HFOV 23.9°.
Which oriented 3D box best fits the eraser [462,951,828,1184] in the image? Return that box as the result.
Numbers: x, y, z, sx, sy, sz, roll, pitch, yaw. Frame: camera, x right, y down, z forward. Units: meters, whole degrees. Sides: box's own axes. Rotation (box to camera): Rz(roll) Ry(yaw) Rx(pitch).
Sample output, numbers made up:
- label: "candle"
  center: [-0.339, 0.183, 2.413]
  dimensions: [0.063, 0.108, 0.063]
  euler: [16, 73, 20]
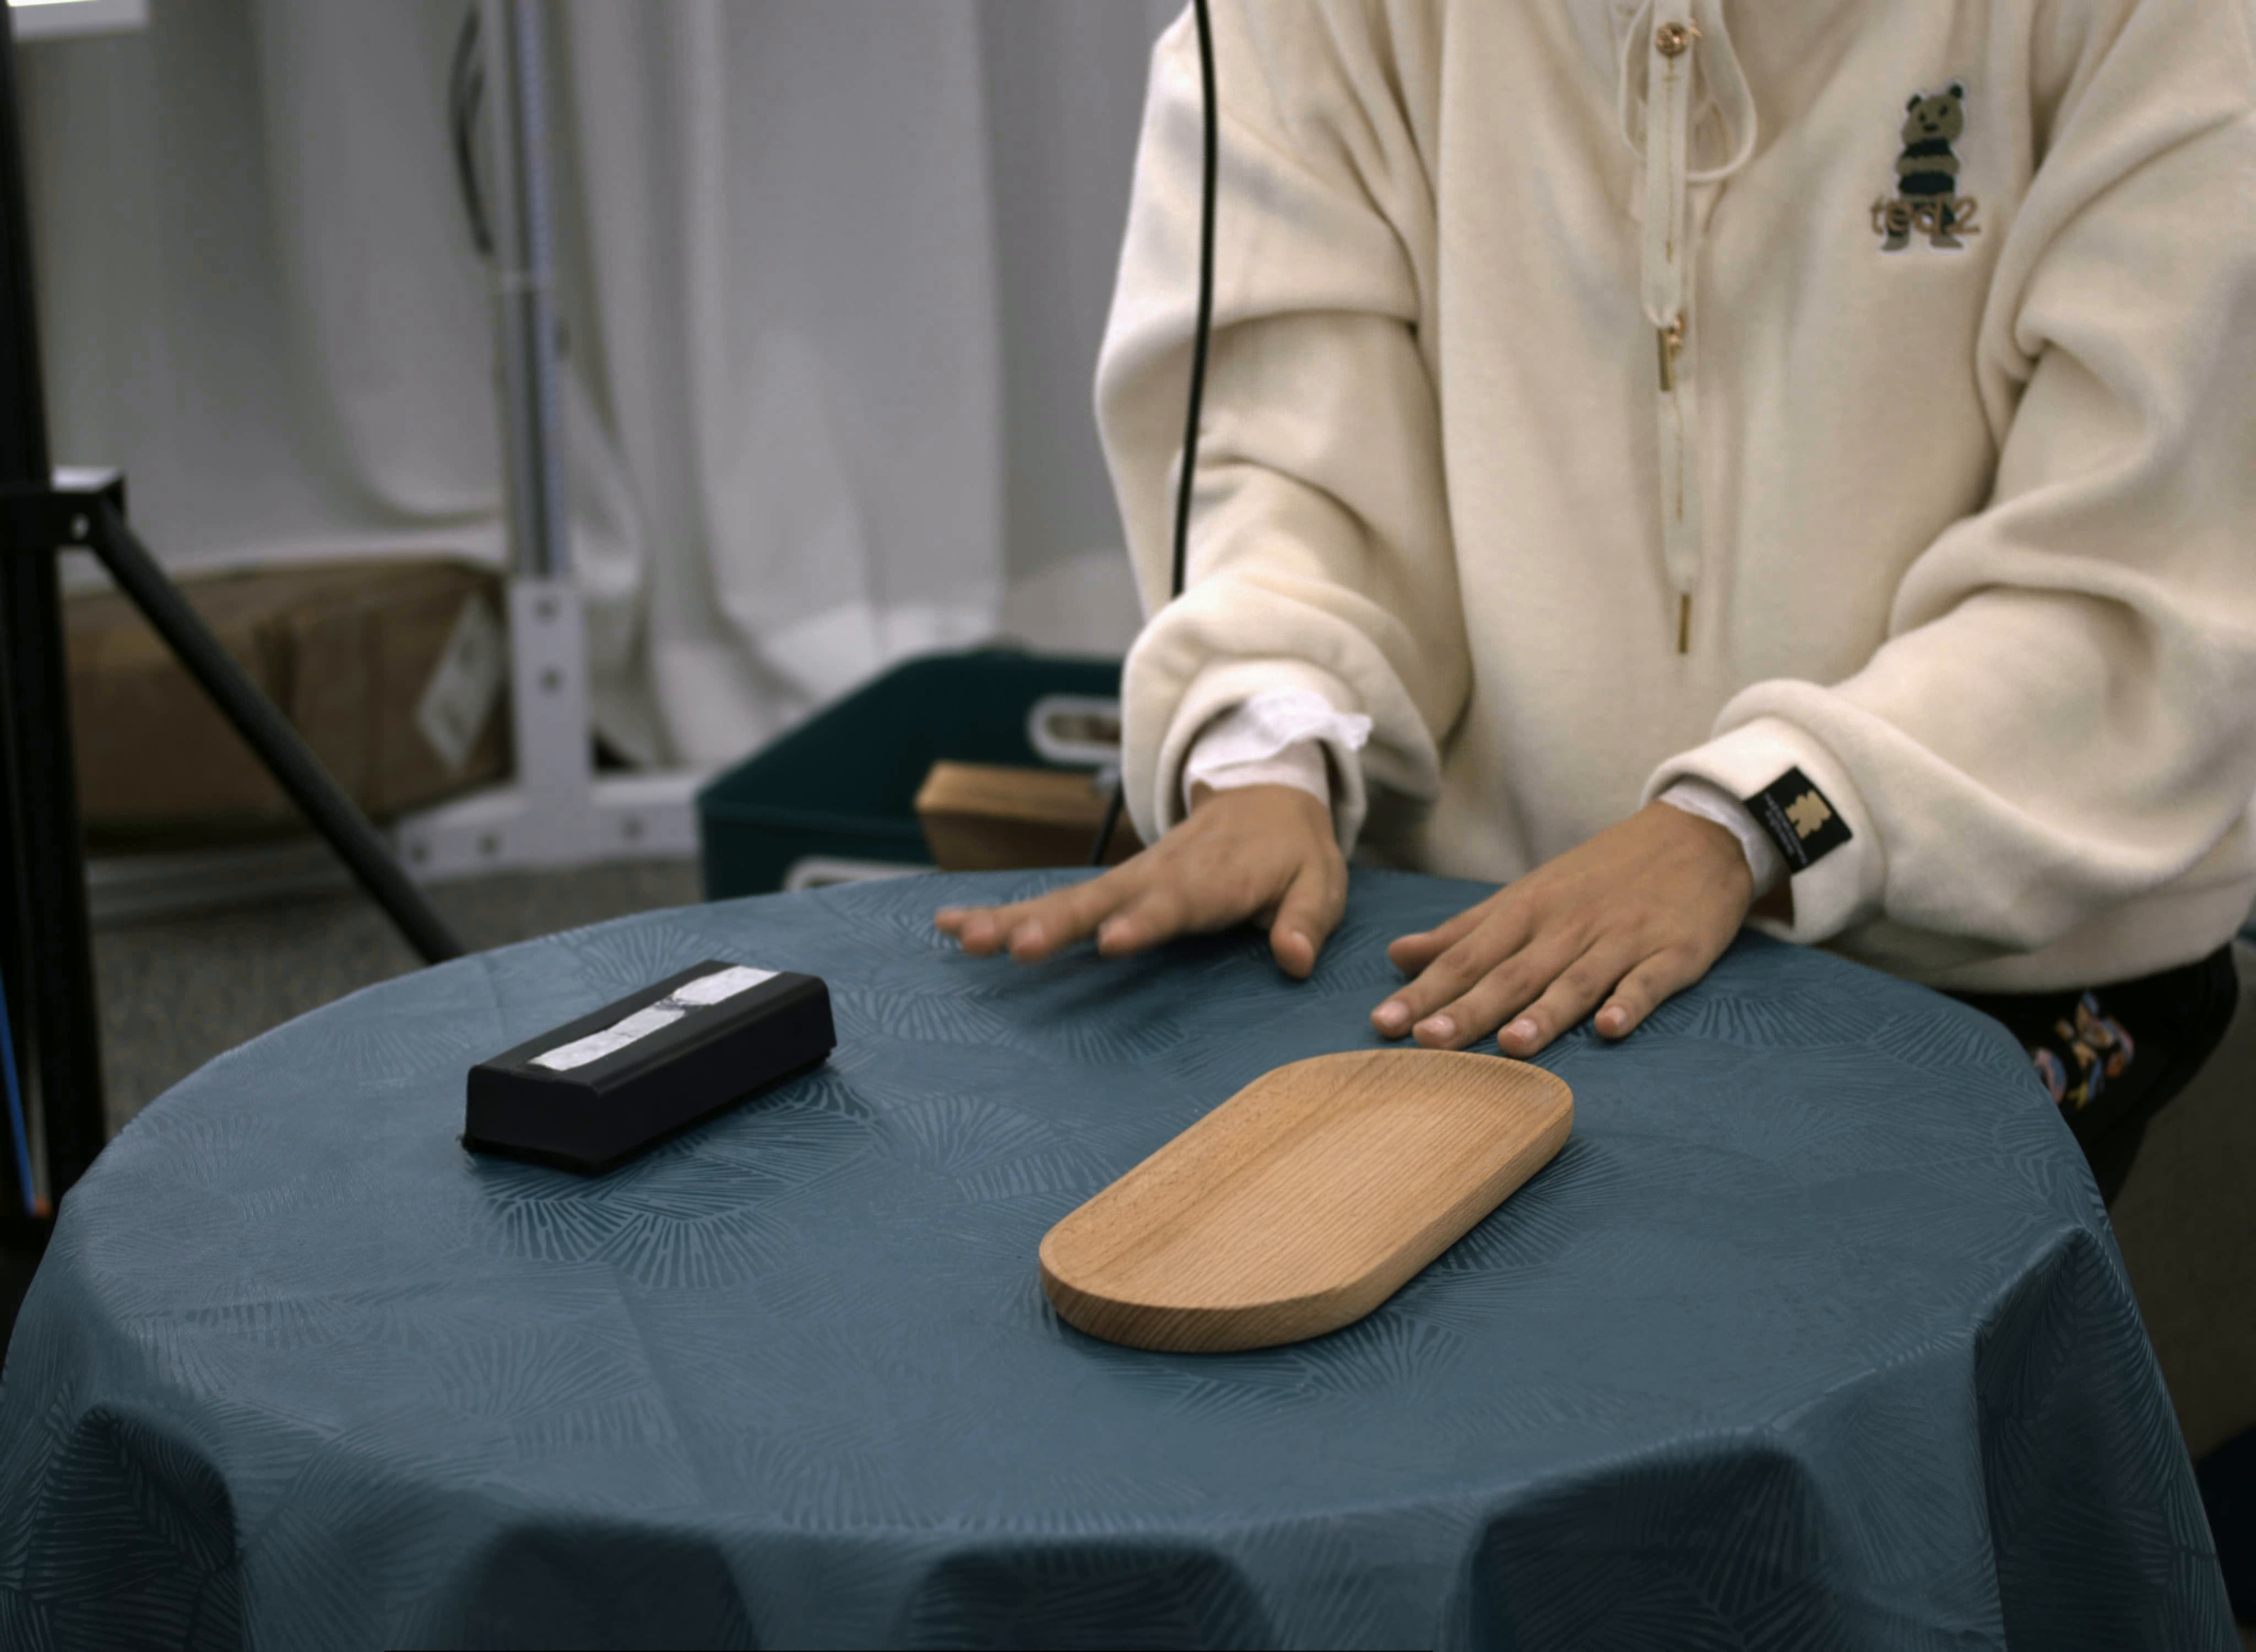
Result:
- label: "eraser"
  center: [-0.148, 0.074, 1.649]
  dimensions: [0.054, 0.030, 0.123]
  euler: [13, 23, 29]

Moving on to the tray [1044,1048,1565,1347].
- label: "tray"
  center: [0.054, 0.105, 1.530]
  dimensions: [0.103, 0.020, 0.227]
  euler: [5, 16, 24]
